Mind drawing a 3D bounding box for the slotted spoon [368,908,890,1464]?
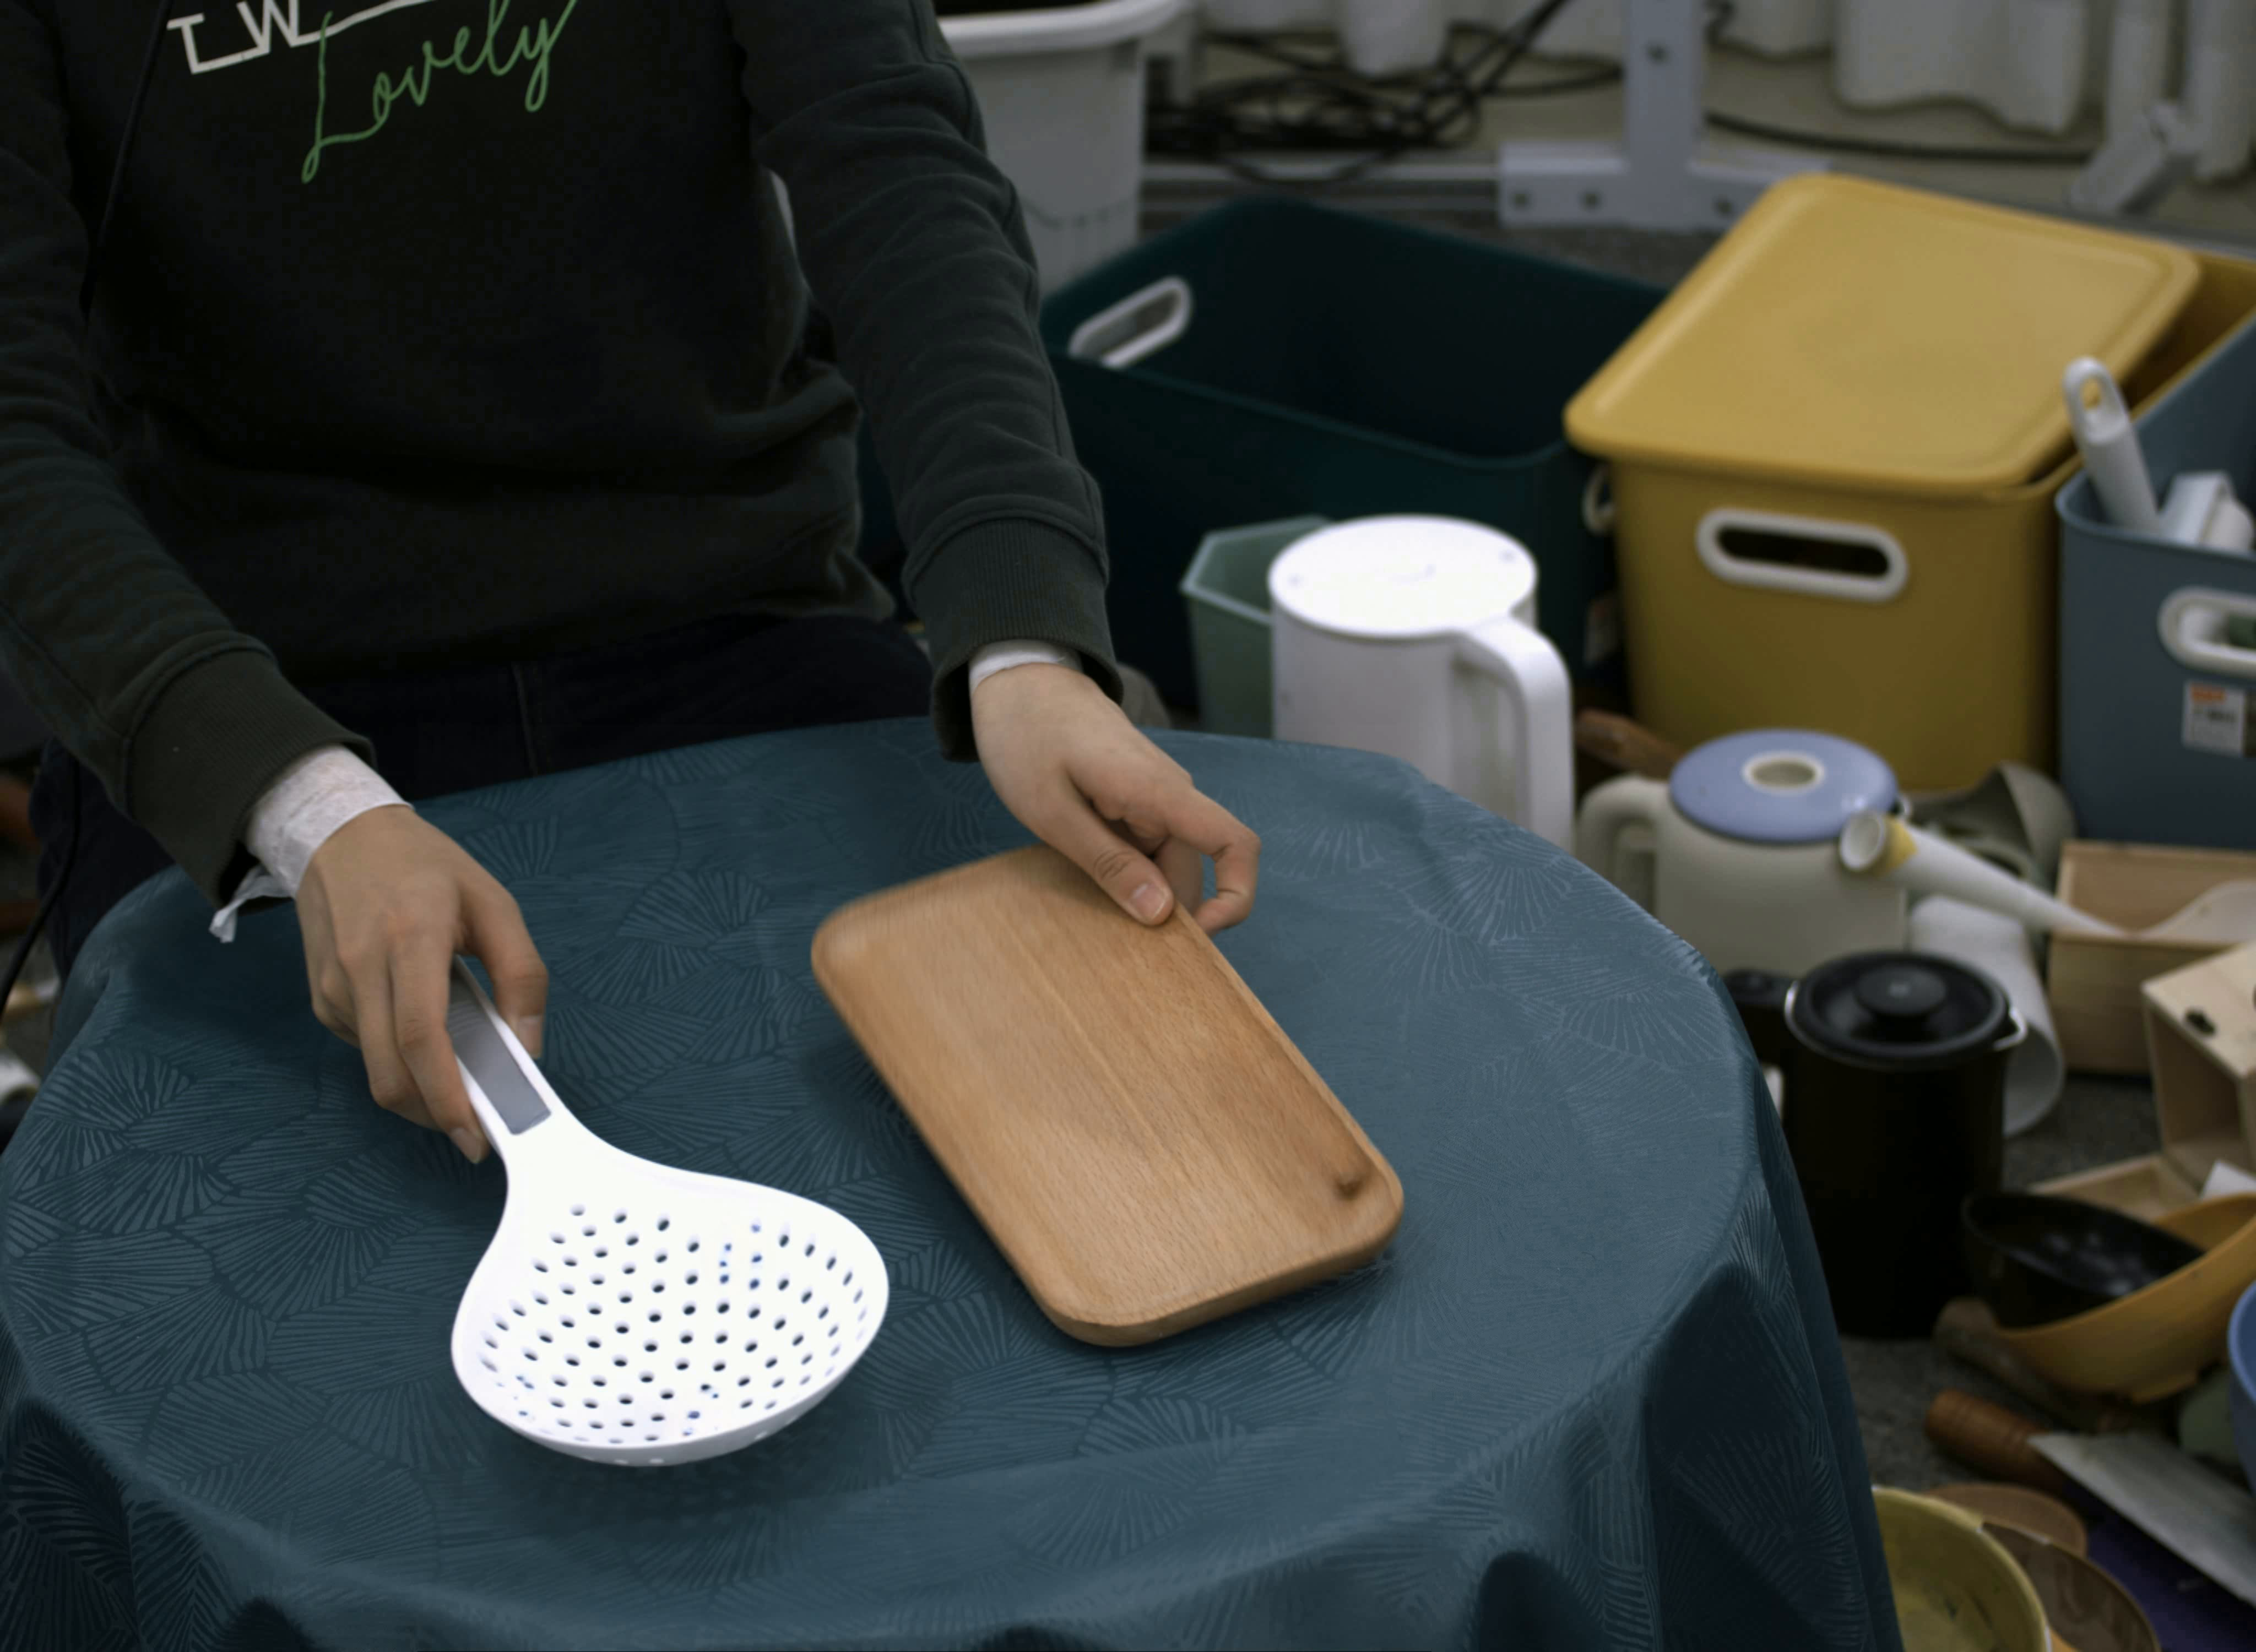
[{"bbox_3d":[-0.185,0.111,1.825,0.136,0.045,0.353,-15,35,-19],"label":"slotted spoon"}]

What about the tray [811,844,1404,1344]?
[{"bbox_3d":[-0.010,0.087,1.878,0.131,0.022,0.253,-19,34,-16],"label":"tray"}]
